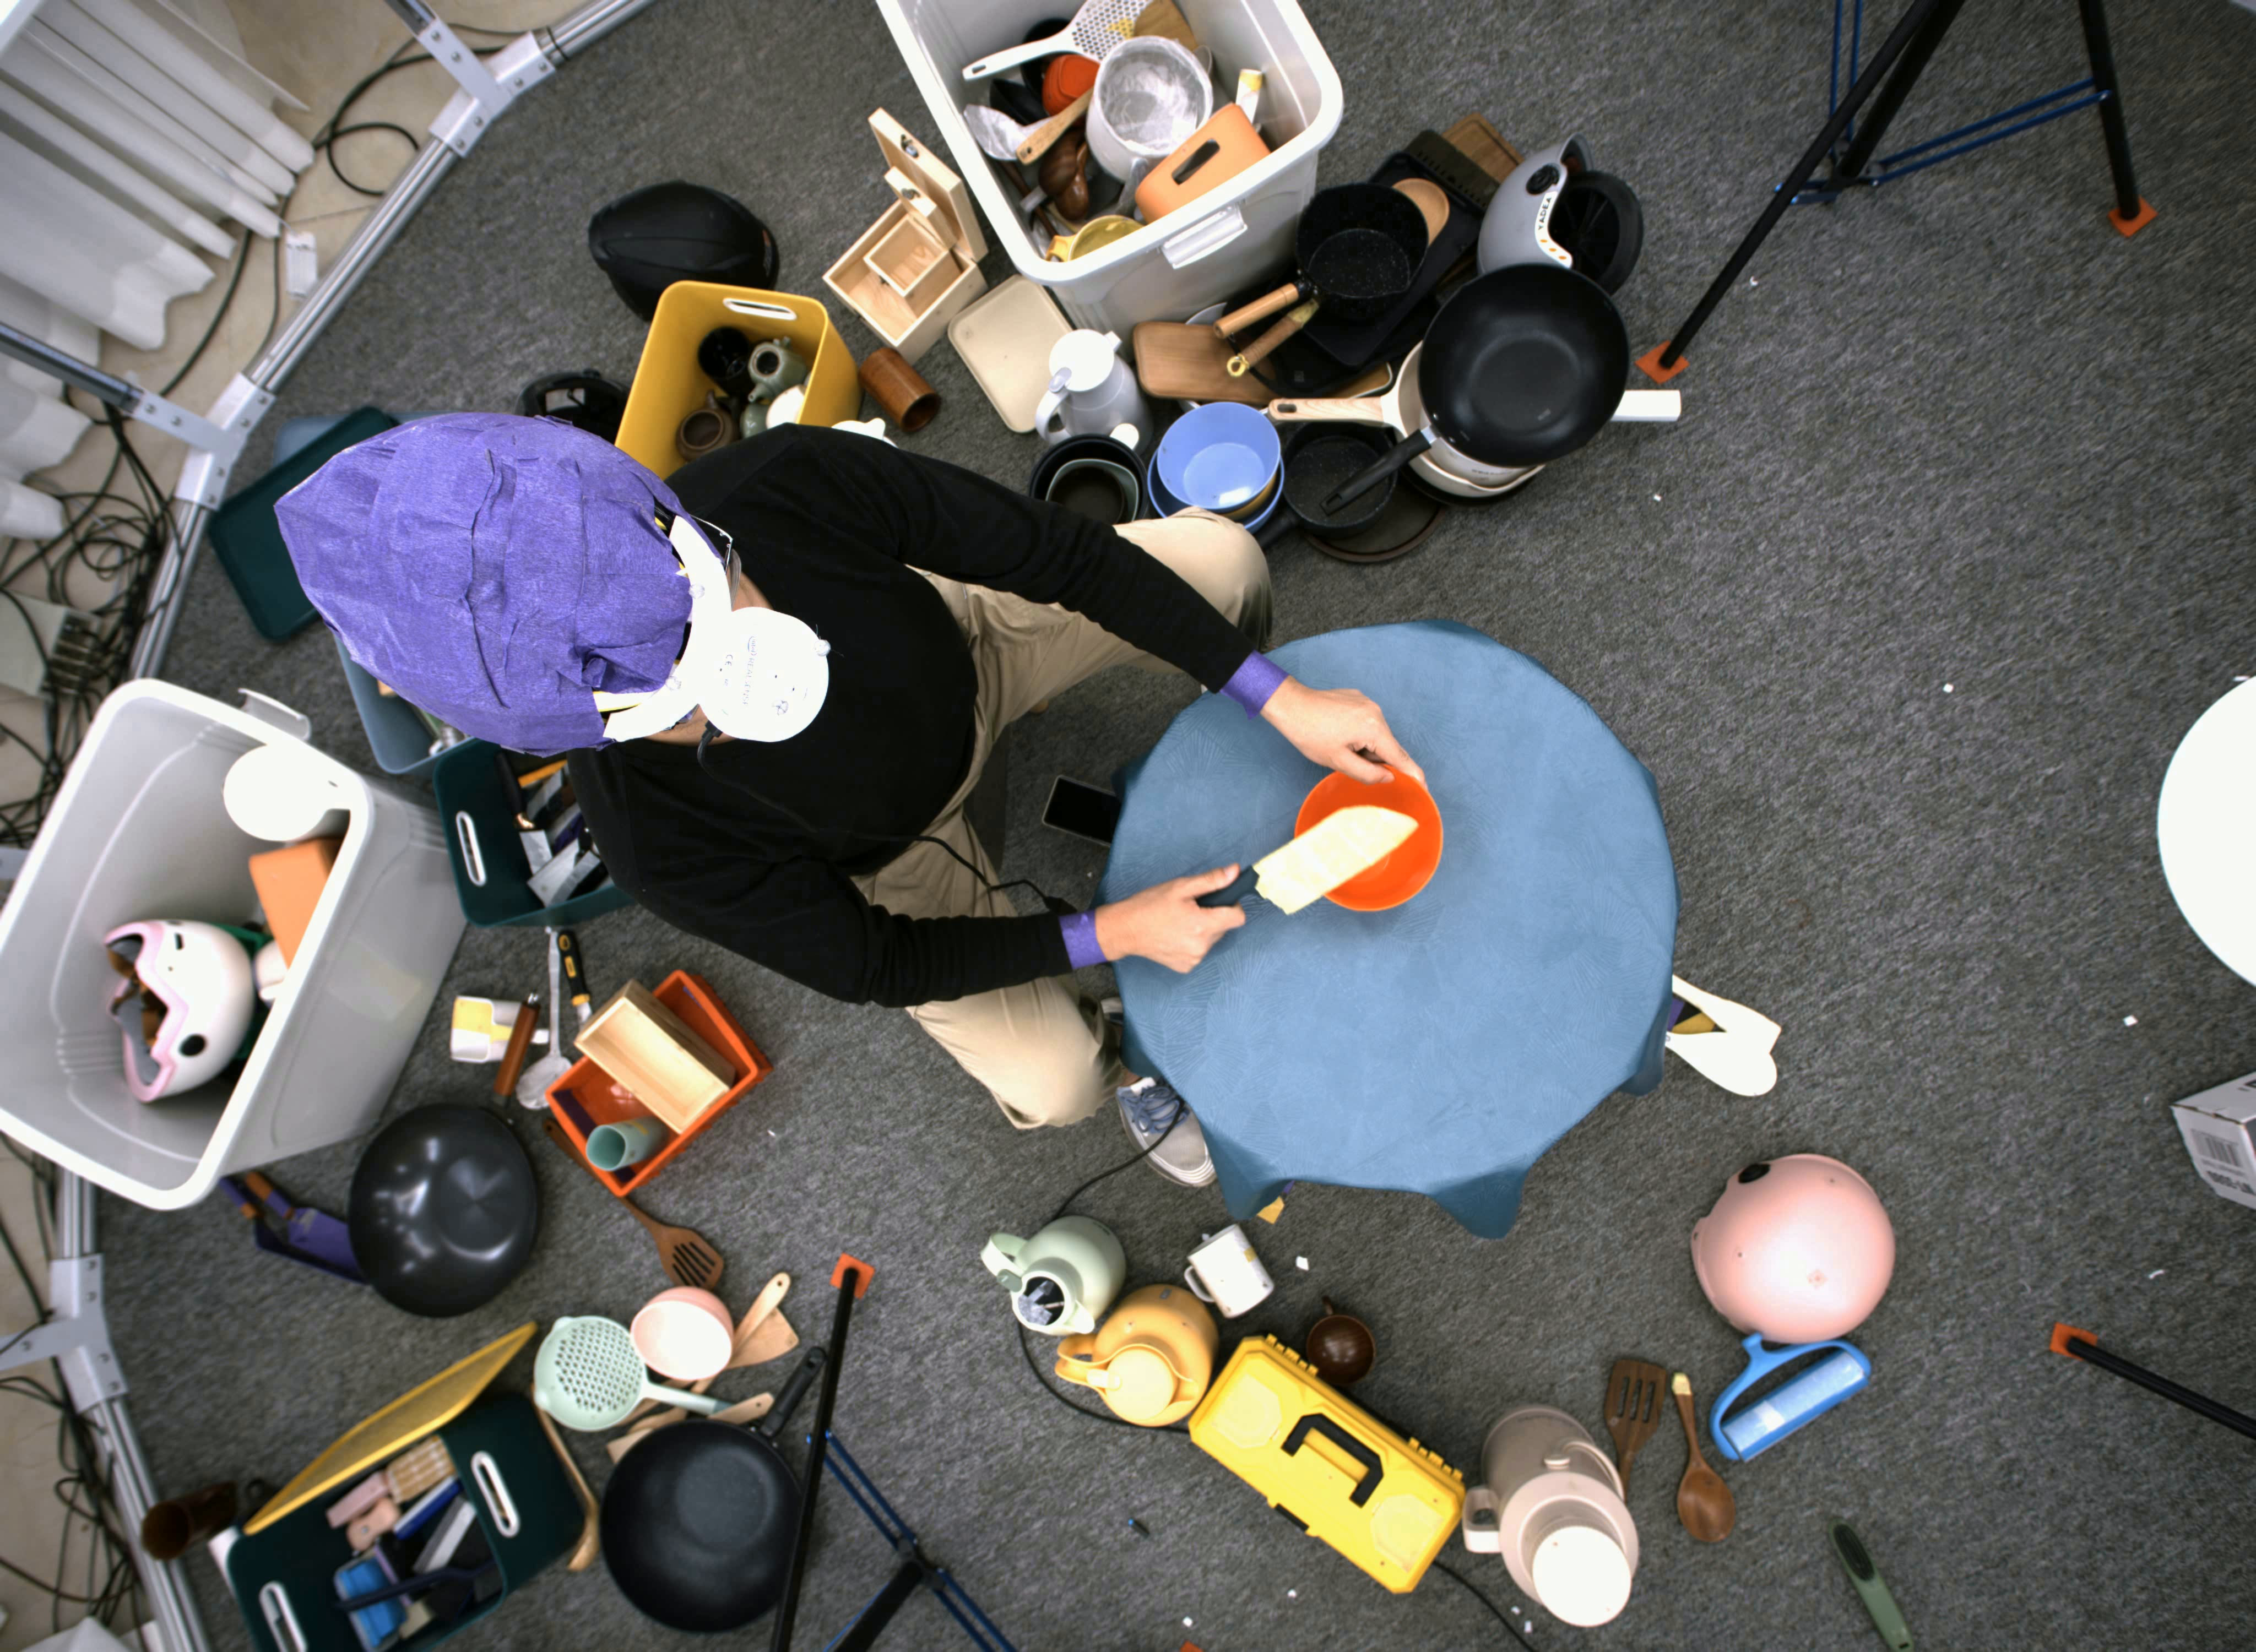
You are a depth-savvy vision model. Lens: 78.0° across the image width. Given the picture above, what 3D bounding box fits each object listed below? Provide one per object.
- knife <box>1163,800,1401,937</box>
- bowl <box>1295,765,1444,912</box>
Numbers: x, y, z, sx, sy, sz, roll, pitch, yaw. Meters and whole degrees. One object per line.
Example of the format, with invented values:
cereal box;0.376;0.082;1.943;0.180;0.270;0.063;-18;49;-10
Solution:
knife;0.152;0.049;1.390;0.295;0.026;0.082;-32;118;32
bowl;0.247;0.015;1.417;0.148;0.104;0.147;-1;88;10
